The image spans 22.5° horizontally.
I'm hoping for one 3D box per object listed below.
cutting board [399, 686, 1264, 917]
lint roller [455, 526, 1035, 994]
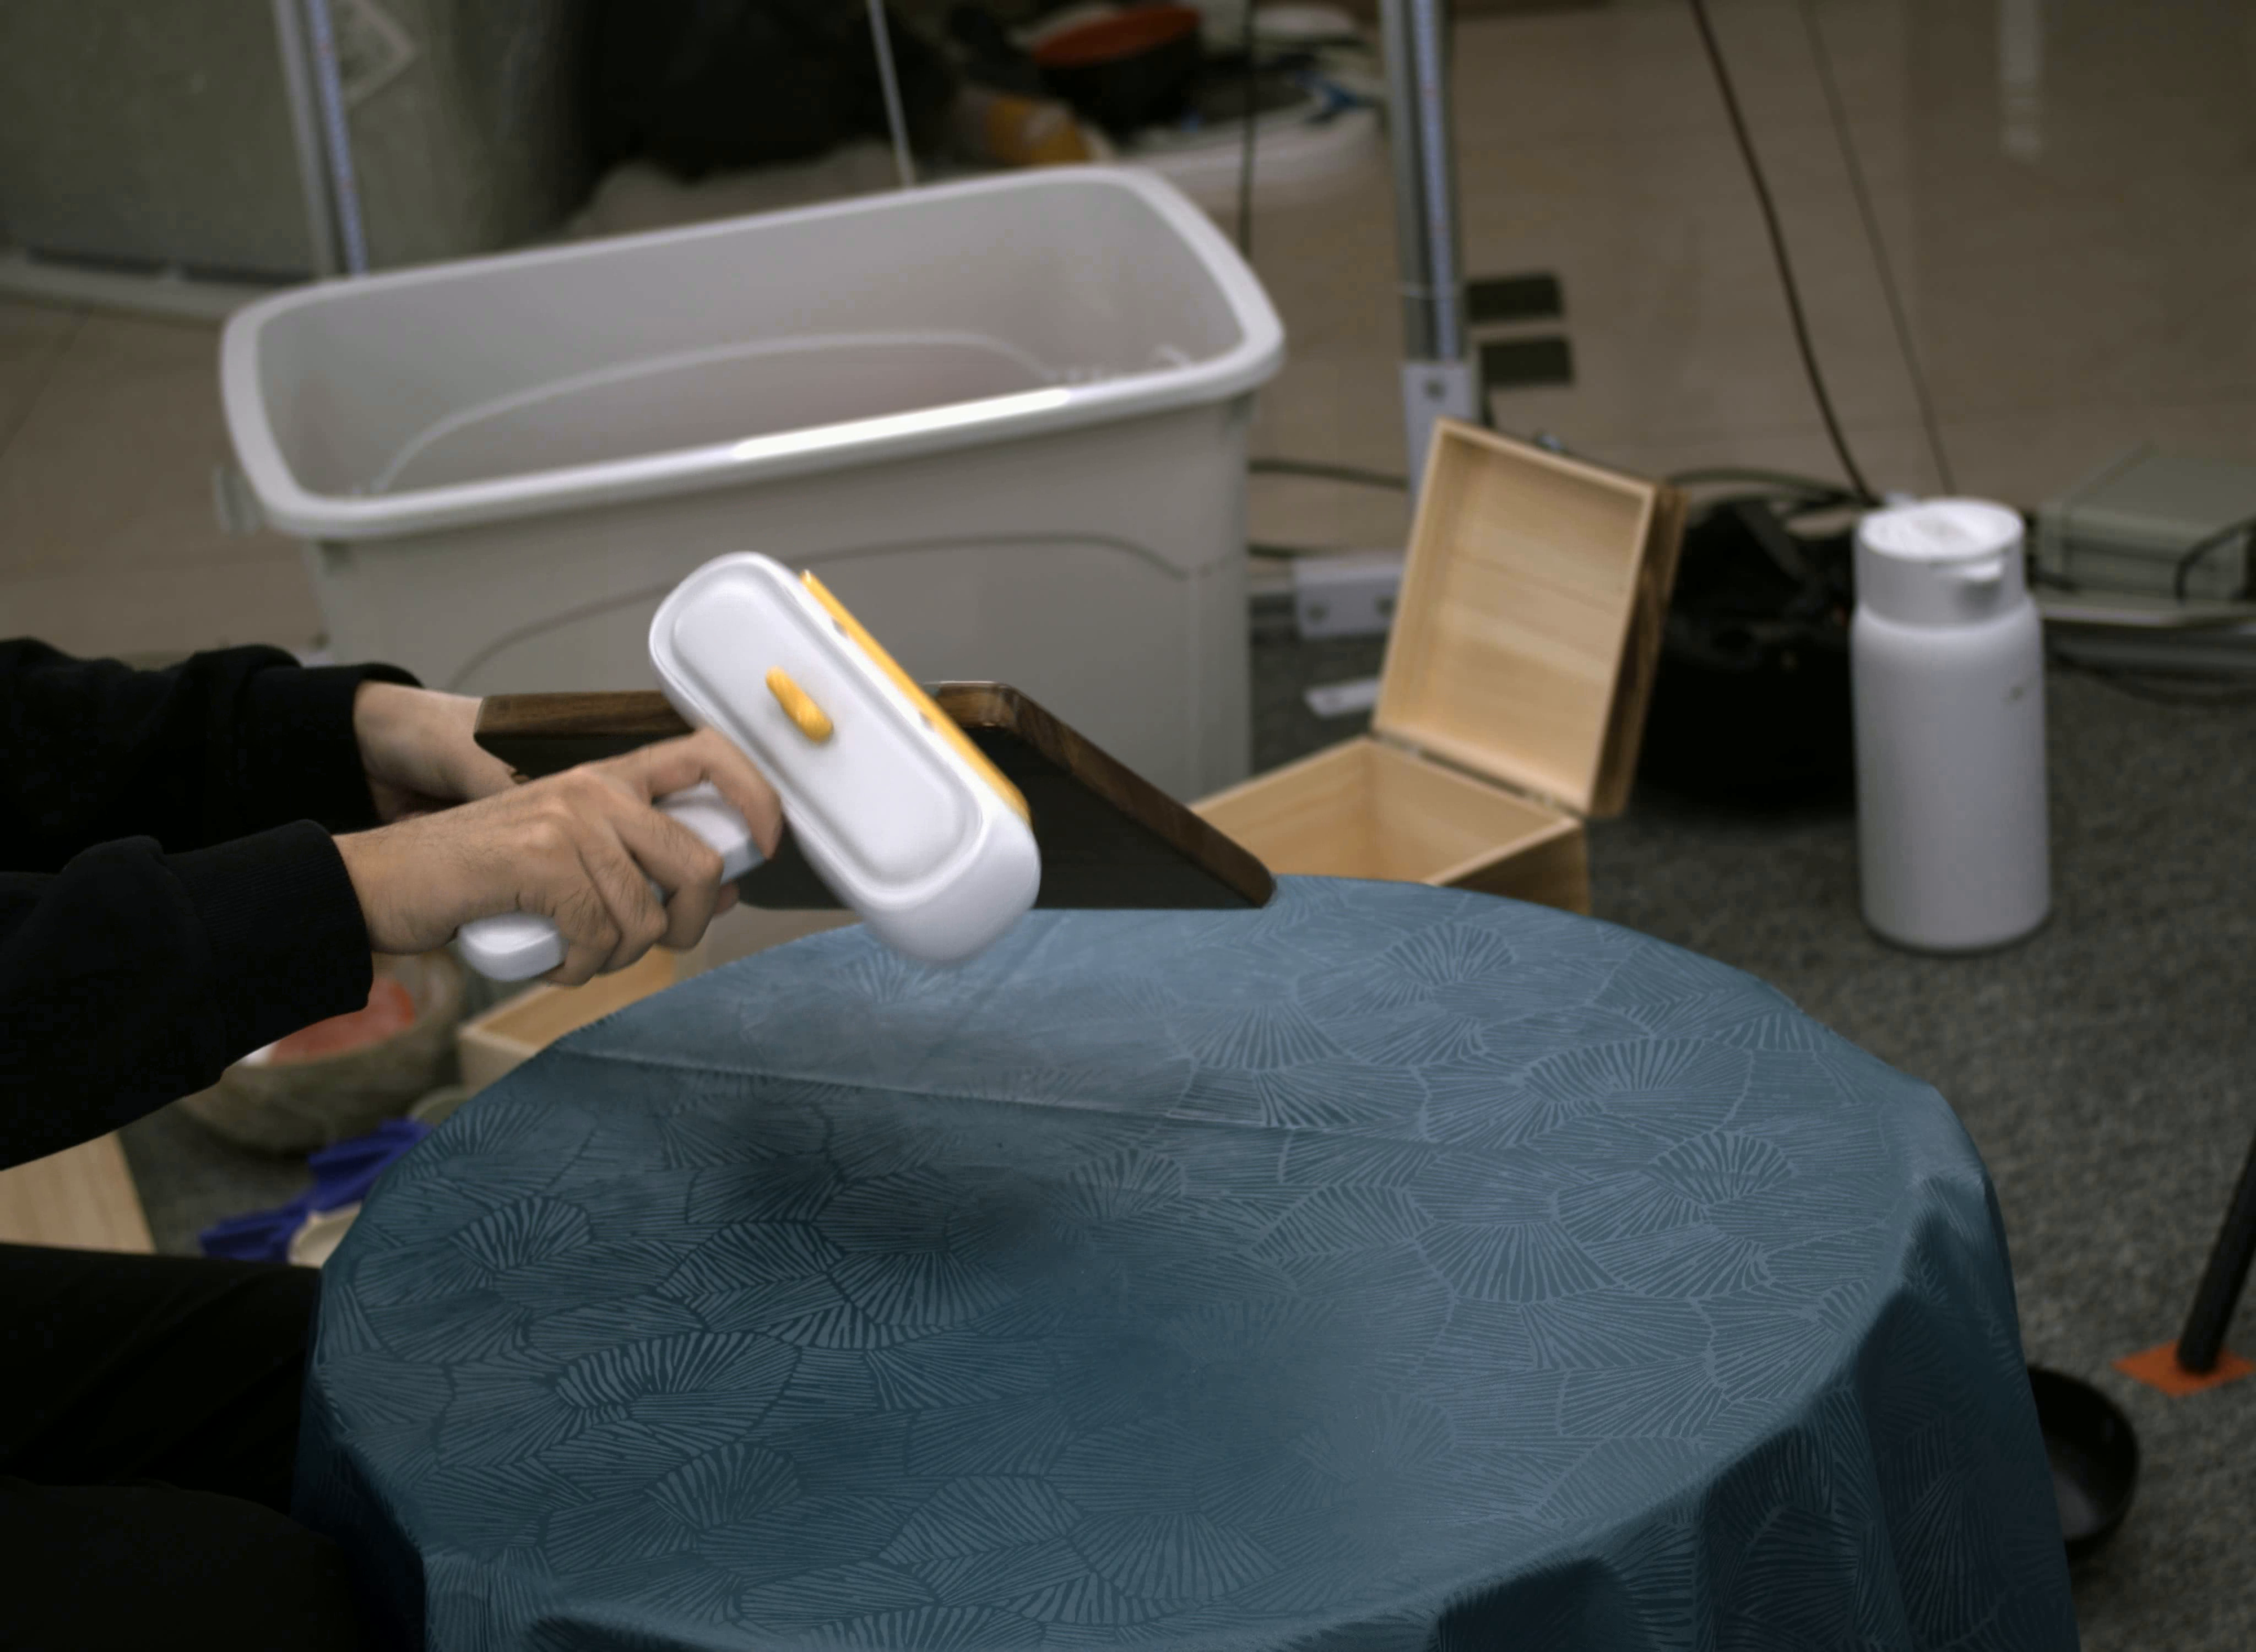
[{"bbox_3d":[-0.141,-0.007,2.194,0.351,0.203,0.023,-1,69,33],"label":"cutting board"},{"bbox_3d":[-0.153,-0.003,2.004,0.191,0.075,0.190,-41,61,-12],"label":"lint roller"}]
